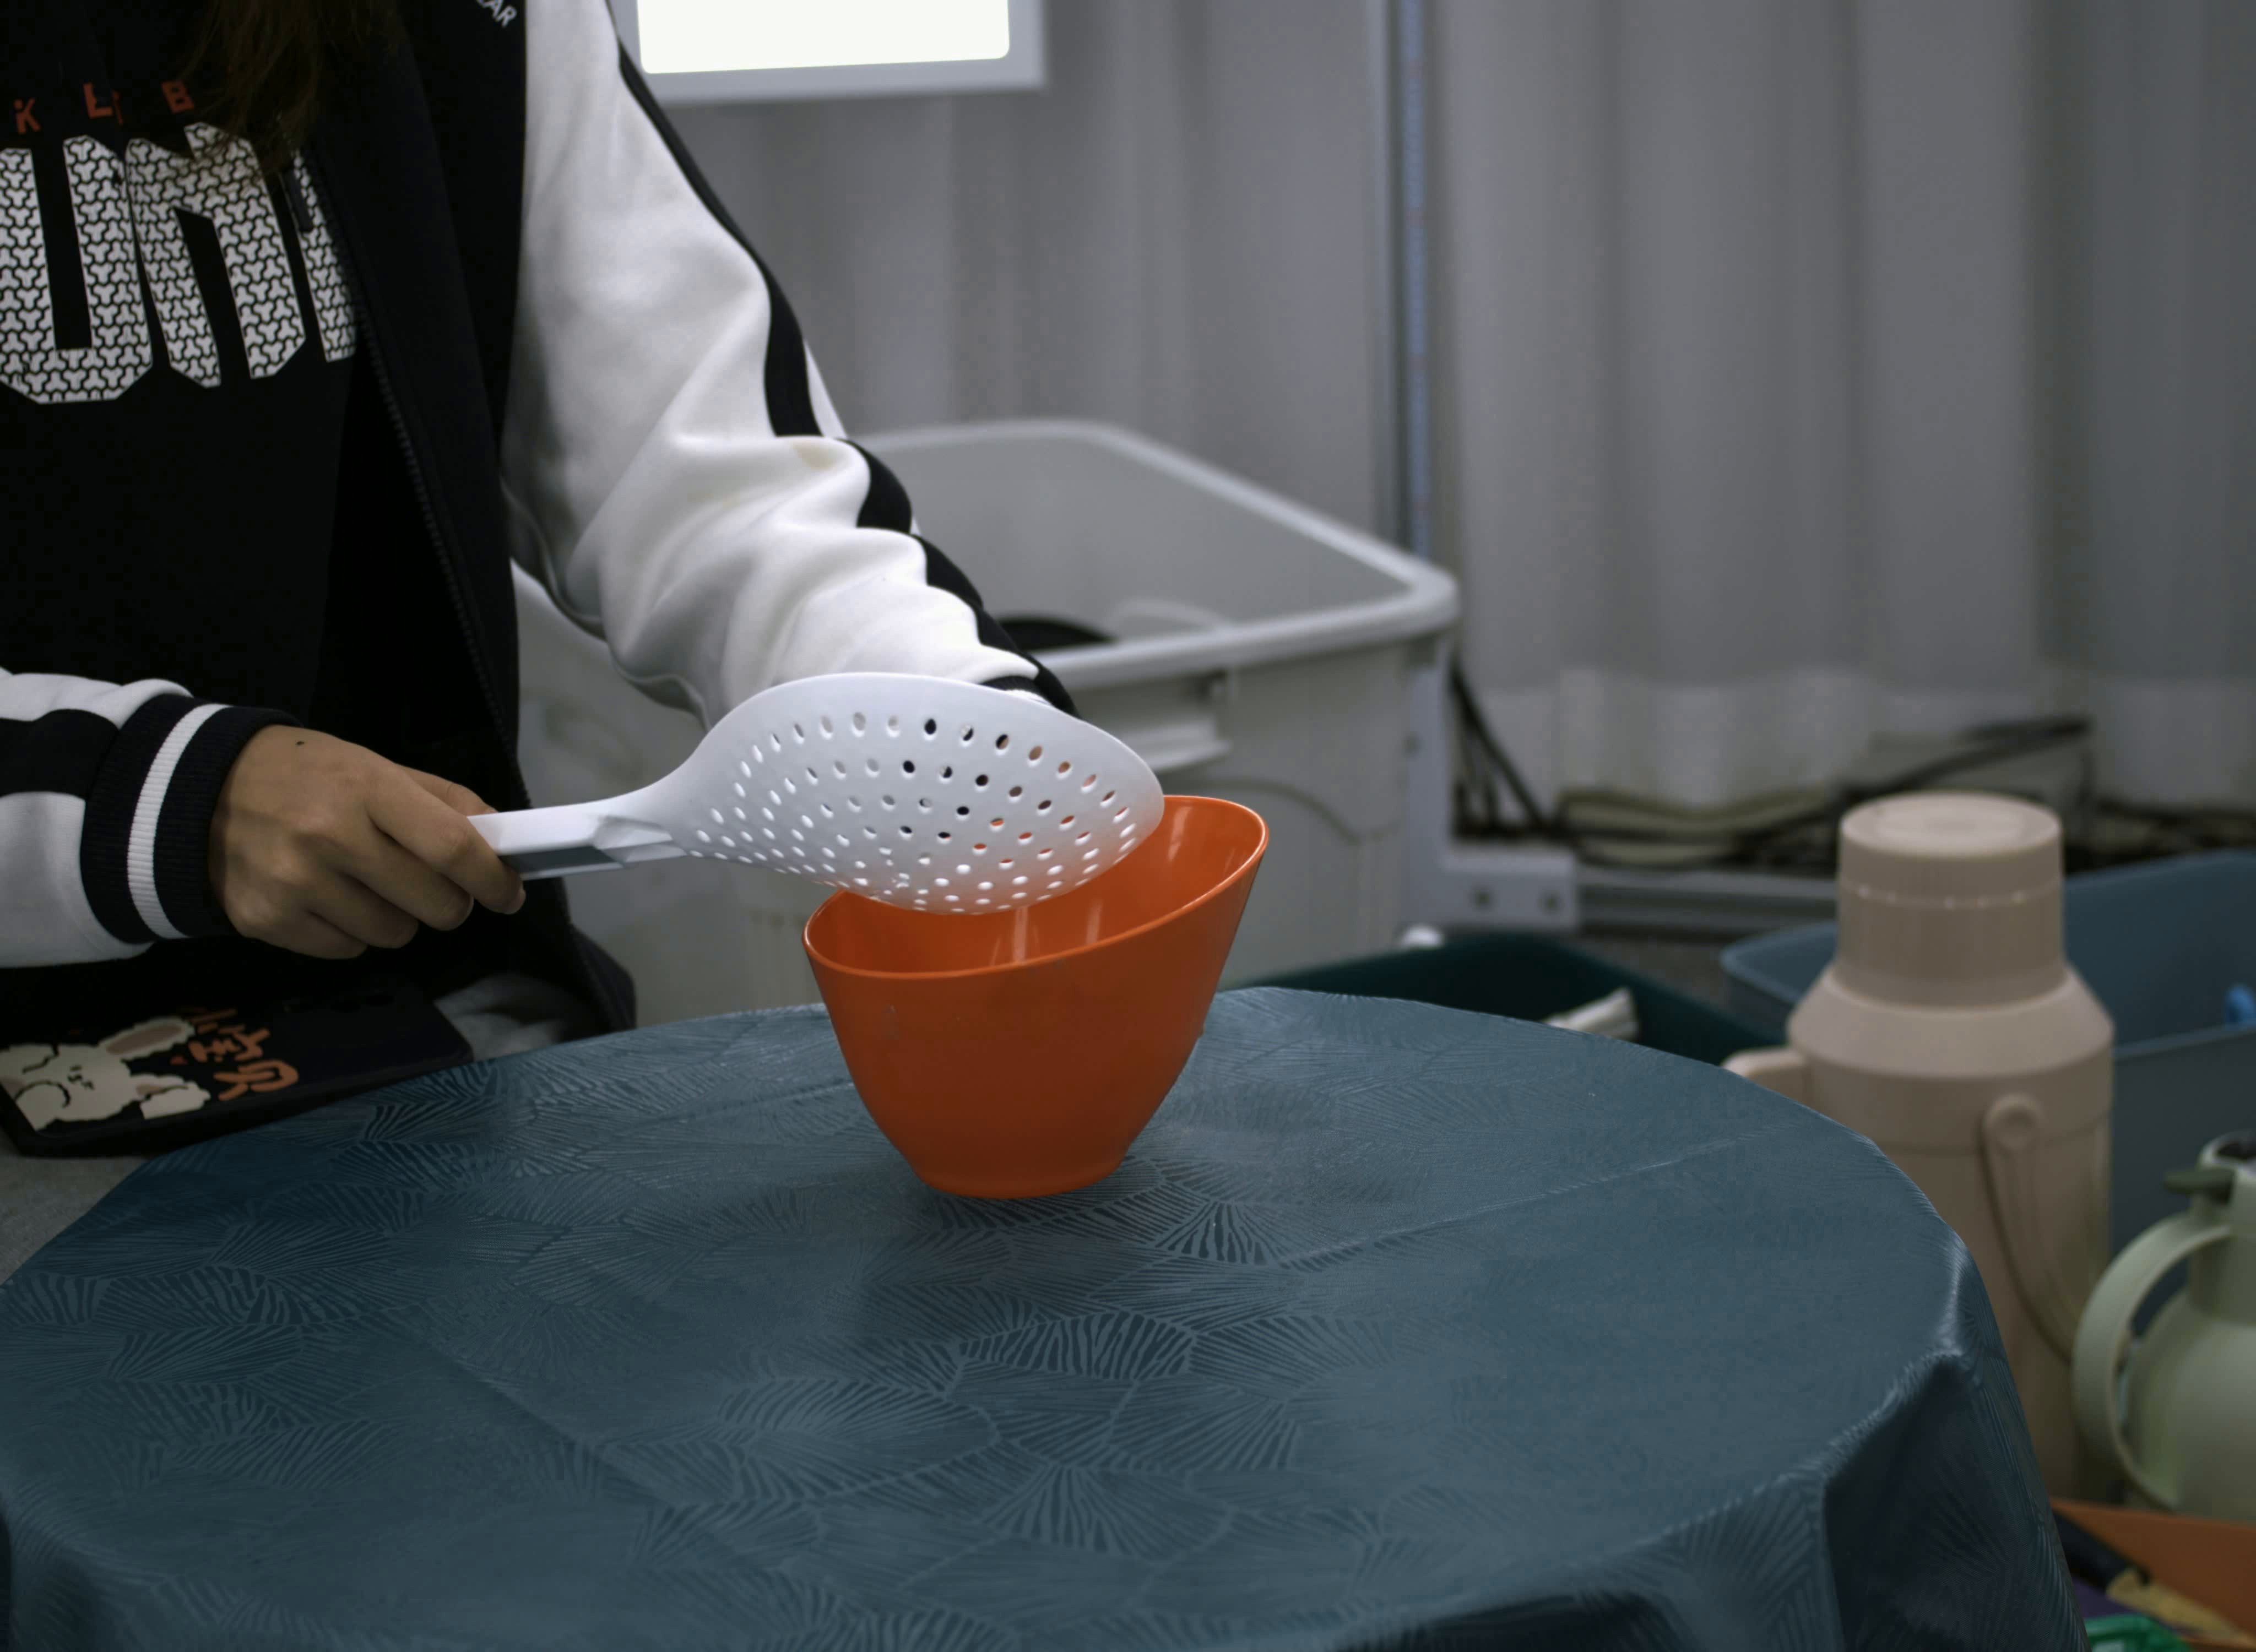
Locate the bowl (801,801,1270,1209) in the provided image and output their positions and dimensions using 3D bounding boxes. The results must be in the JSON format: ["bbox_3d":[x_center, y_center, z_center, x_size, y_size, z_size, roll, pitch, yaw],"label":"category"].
[{"bbox_3d":[-0.026,0.059,1.703,0.147,0.104,0.149,-4,18,1],"label":"bowl"}]

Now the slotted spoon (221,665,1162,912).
[{"bbox_3d":[-0.148,0.000,1.719,0.350,0.046,0.134,-2,-27,35],"label":"slotted spoon"}]
